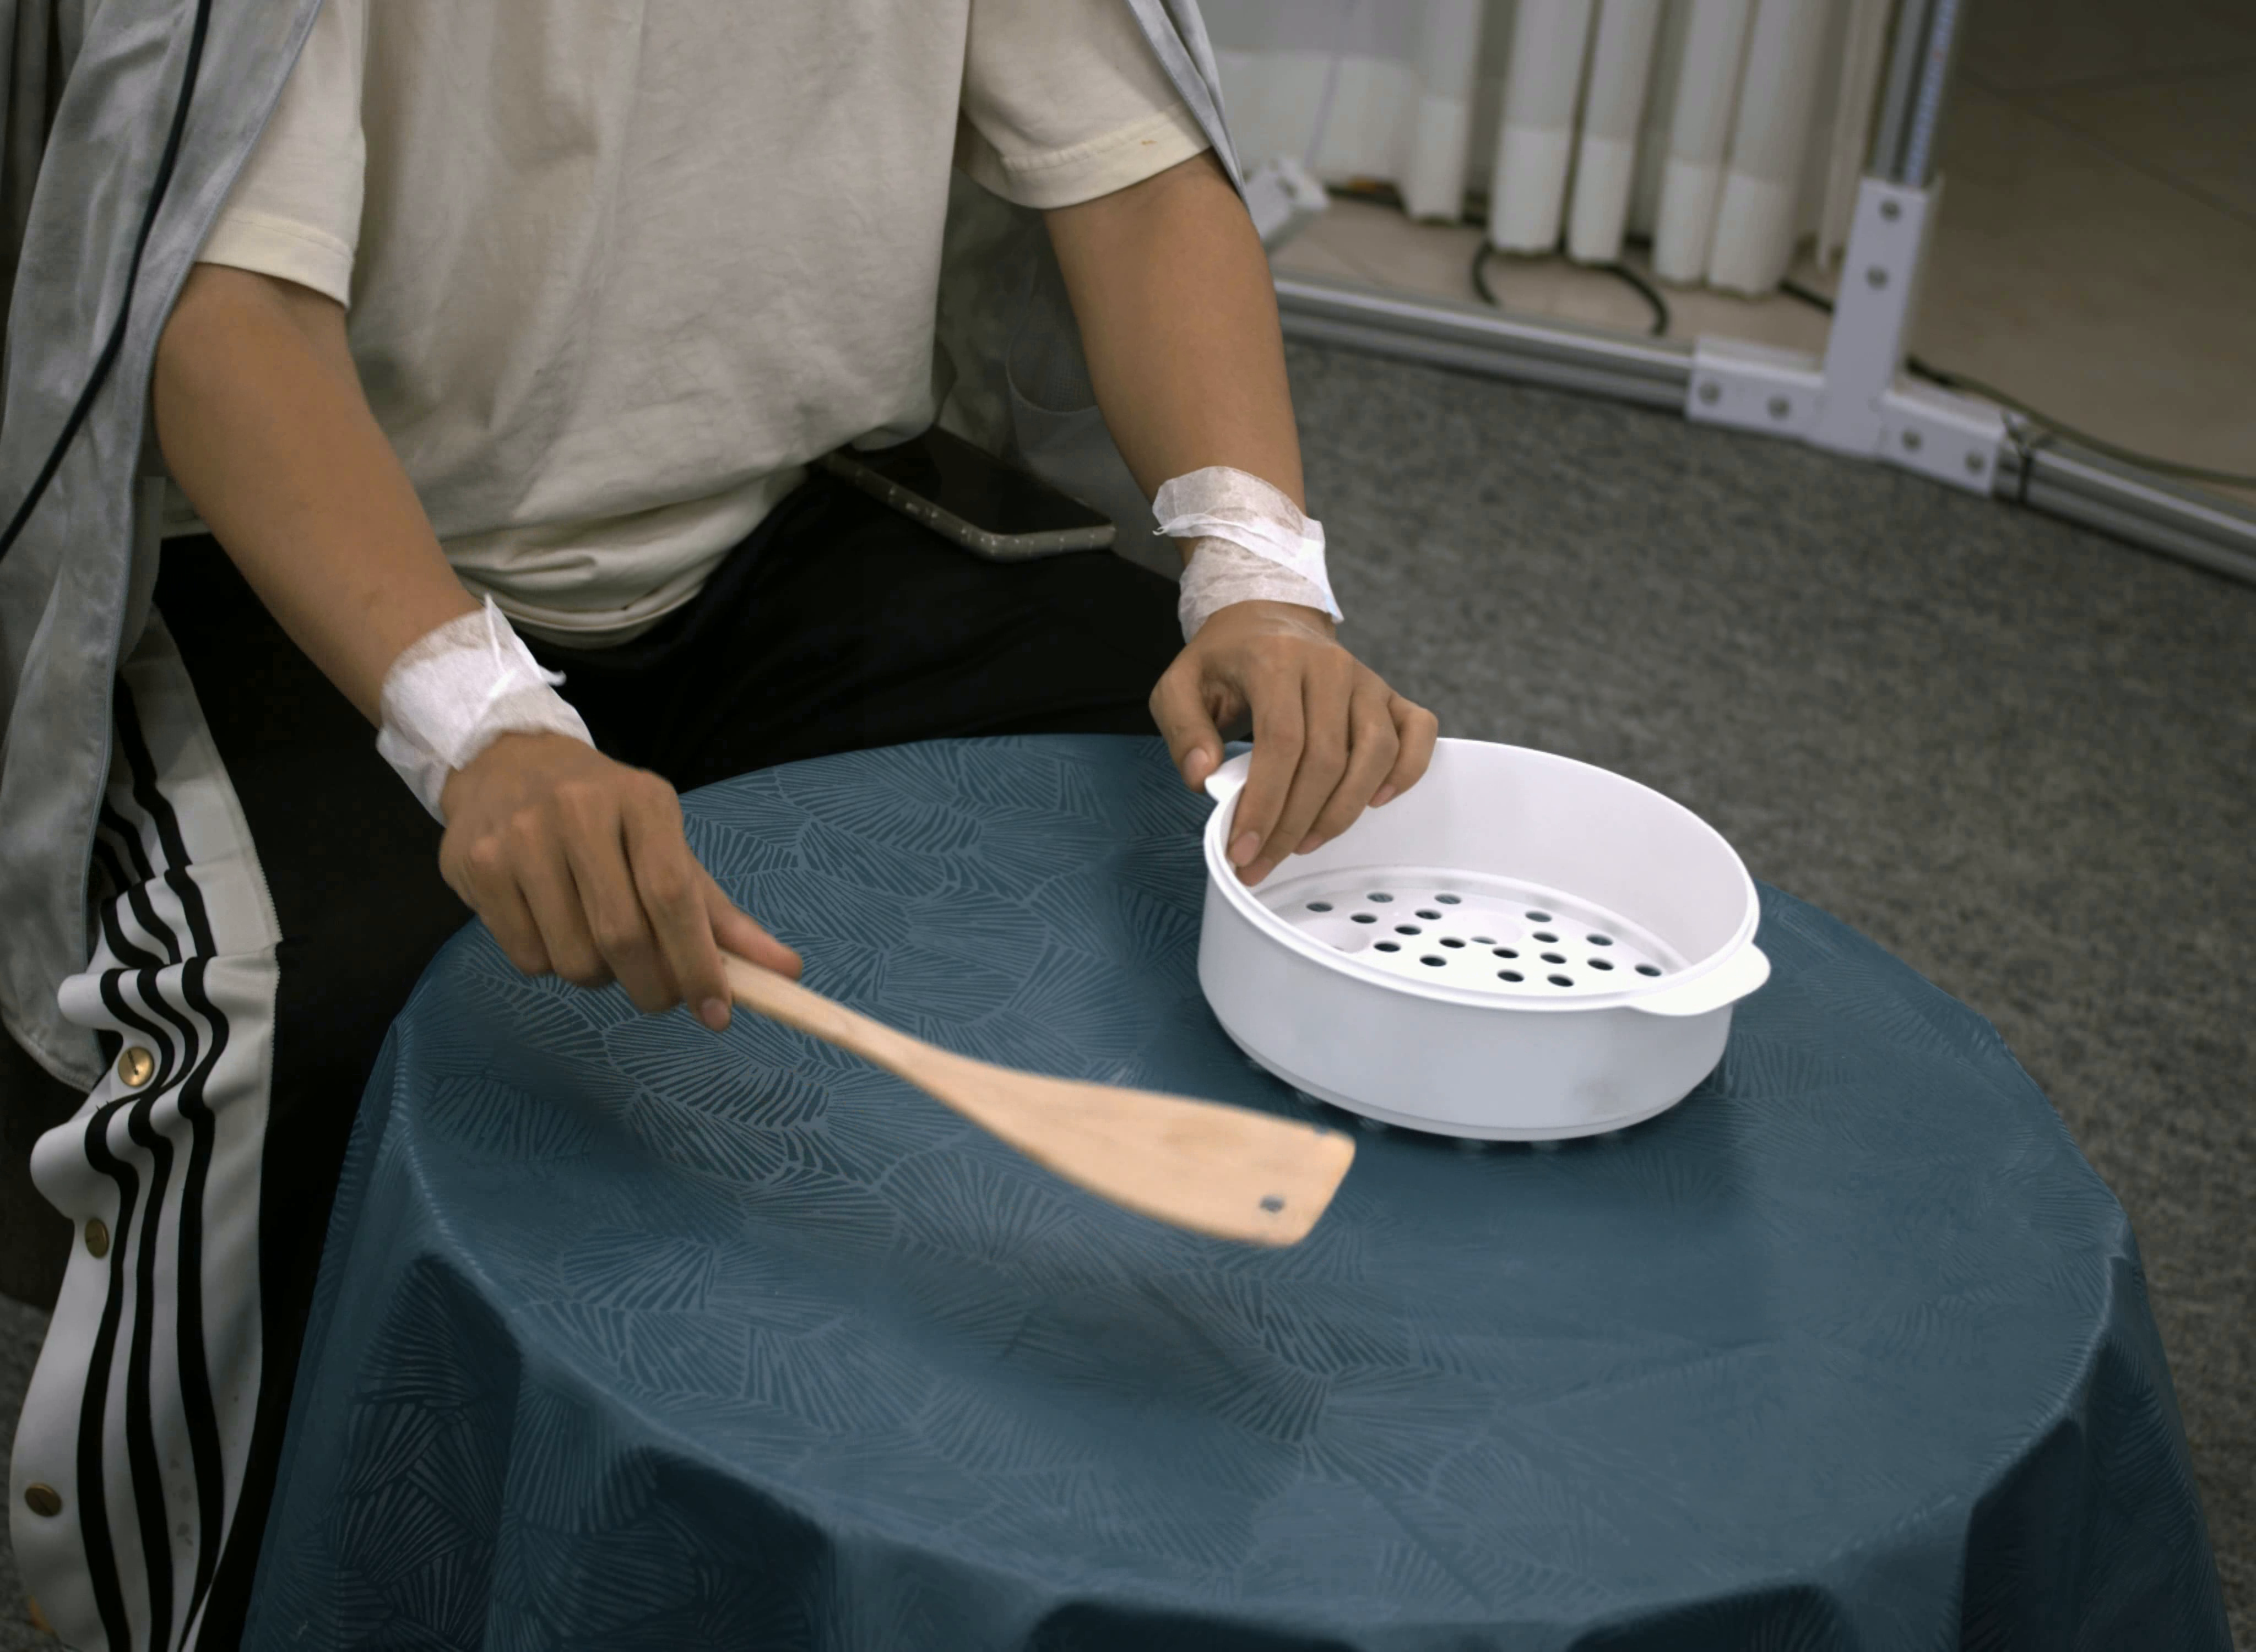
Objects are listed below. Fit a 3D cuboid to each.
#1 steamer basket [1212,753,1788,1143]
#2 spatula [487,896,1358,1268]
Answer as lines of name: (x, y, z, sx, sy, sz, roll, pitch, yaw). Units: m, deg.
steamer basket: (0.129, 0.044, 1.918, 0.232, 0.069, 0.201, 26, 31, 34)
spatula: (-0.073, 0.077, 1.741, 0.329, 0.016, 0.080, 21, 28, 23)
